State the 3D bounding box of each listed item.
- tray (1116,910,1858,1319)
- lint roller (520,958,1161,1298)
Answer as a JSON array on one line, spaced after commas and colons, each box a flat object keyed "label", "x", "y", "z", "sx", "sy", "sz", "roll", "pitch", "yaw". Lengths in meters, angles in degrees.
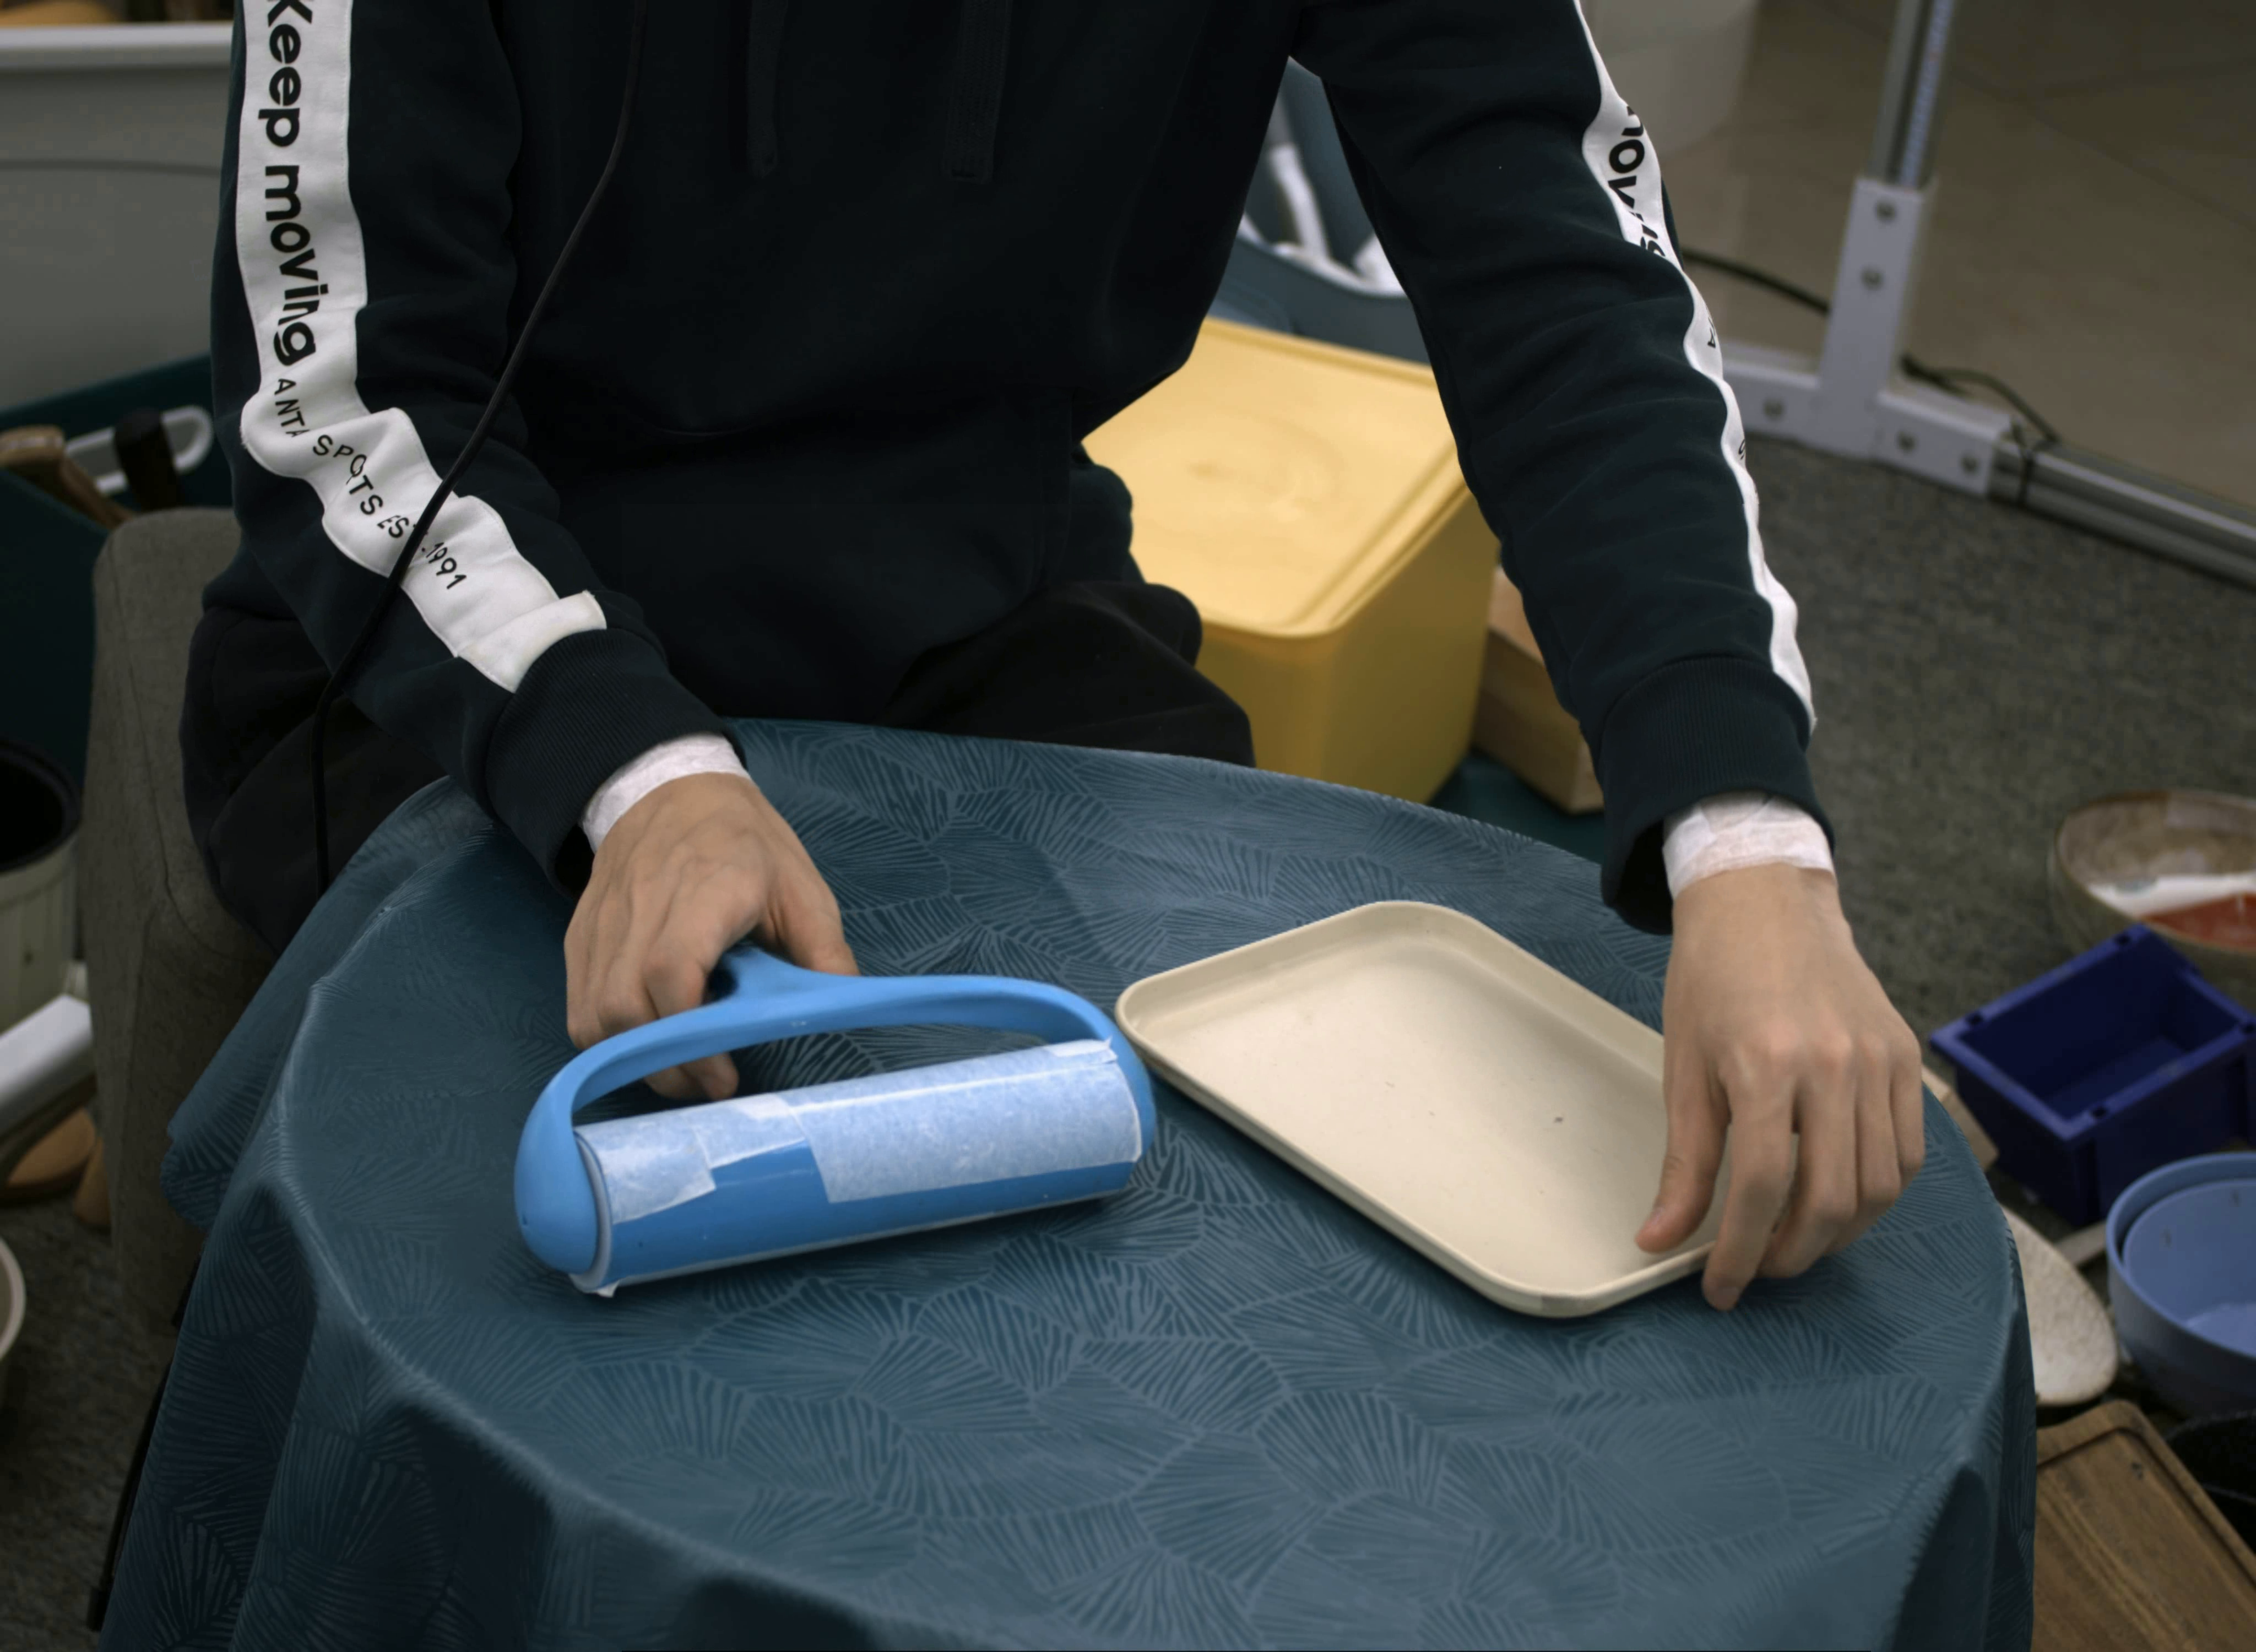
[{"label": "tray", "x": 0.123, "y": 0.099, "z": 1.856, "sx": 0.170, "sy": 0.017, "sz": 0.241, "roll": -15, "pitch": 34, "yaw": -38}, {"label": "lint roller", "x": -0.121, "y": 0.081, "z": 1.786, "sx": 0.227, "sy": 0.067, "sz": 0.182, "roll": -11, "pitch": 36, "yaw": -29}]
